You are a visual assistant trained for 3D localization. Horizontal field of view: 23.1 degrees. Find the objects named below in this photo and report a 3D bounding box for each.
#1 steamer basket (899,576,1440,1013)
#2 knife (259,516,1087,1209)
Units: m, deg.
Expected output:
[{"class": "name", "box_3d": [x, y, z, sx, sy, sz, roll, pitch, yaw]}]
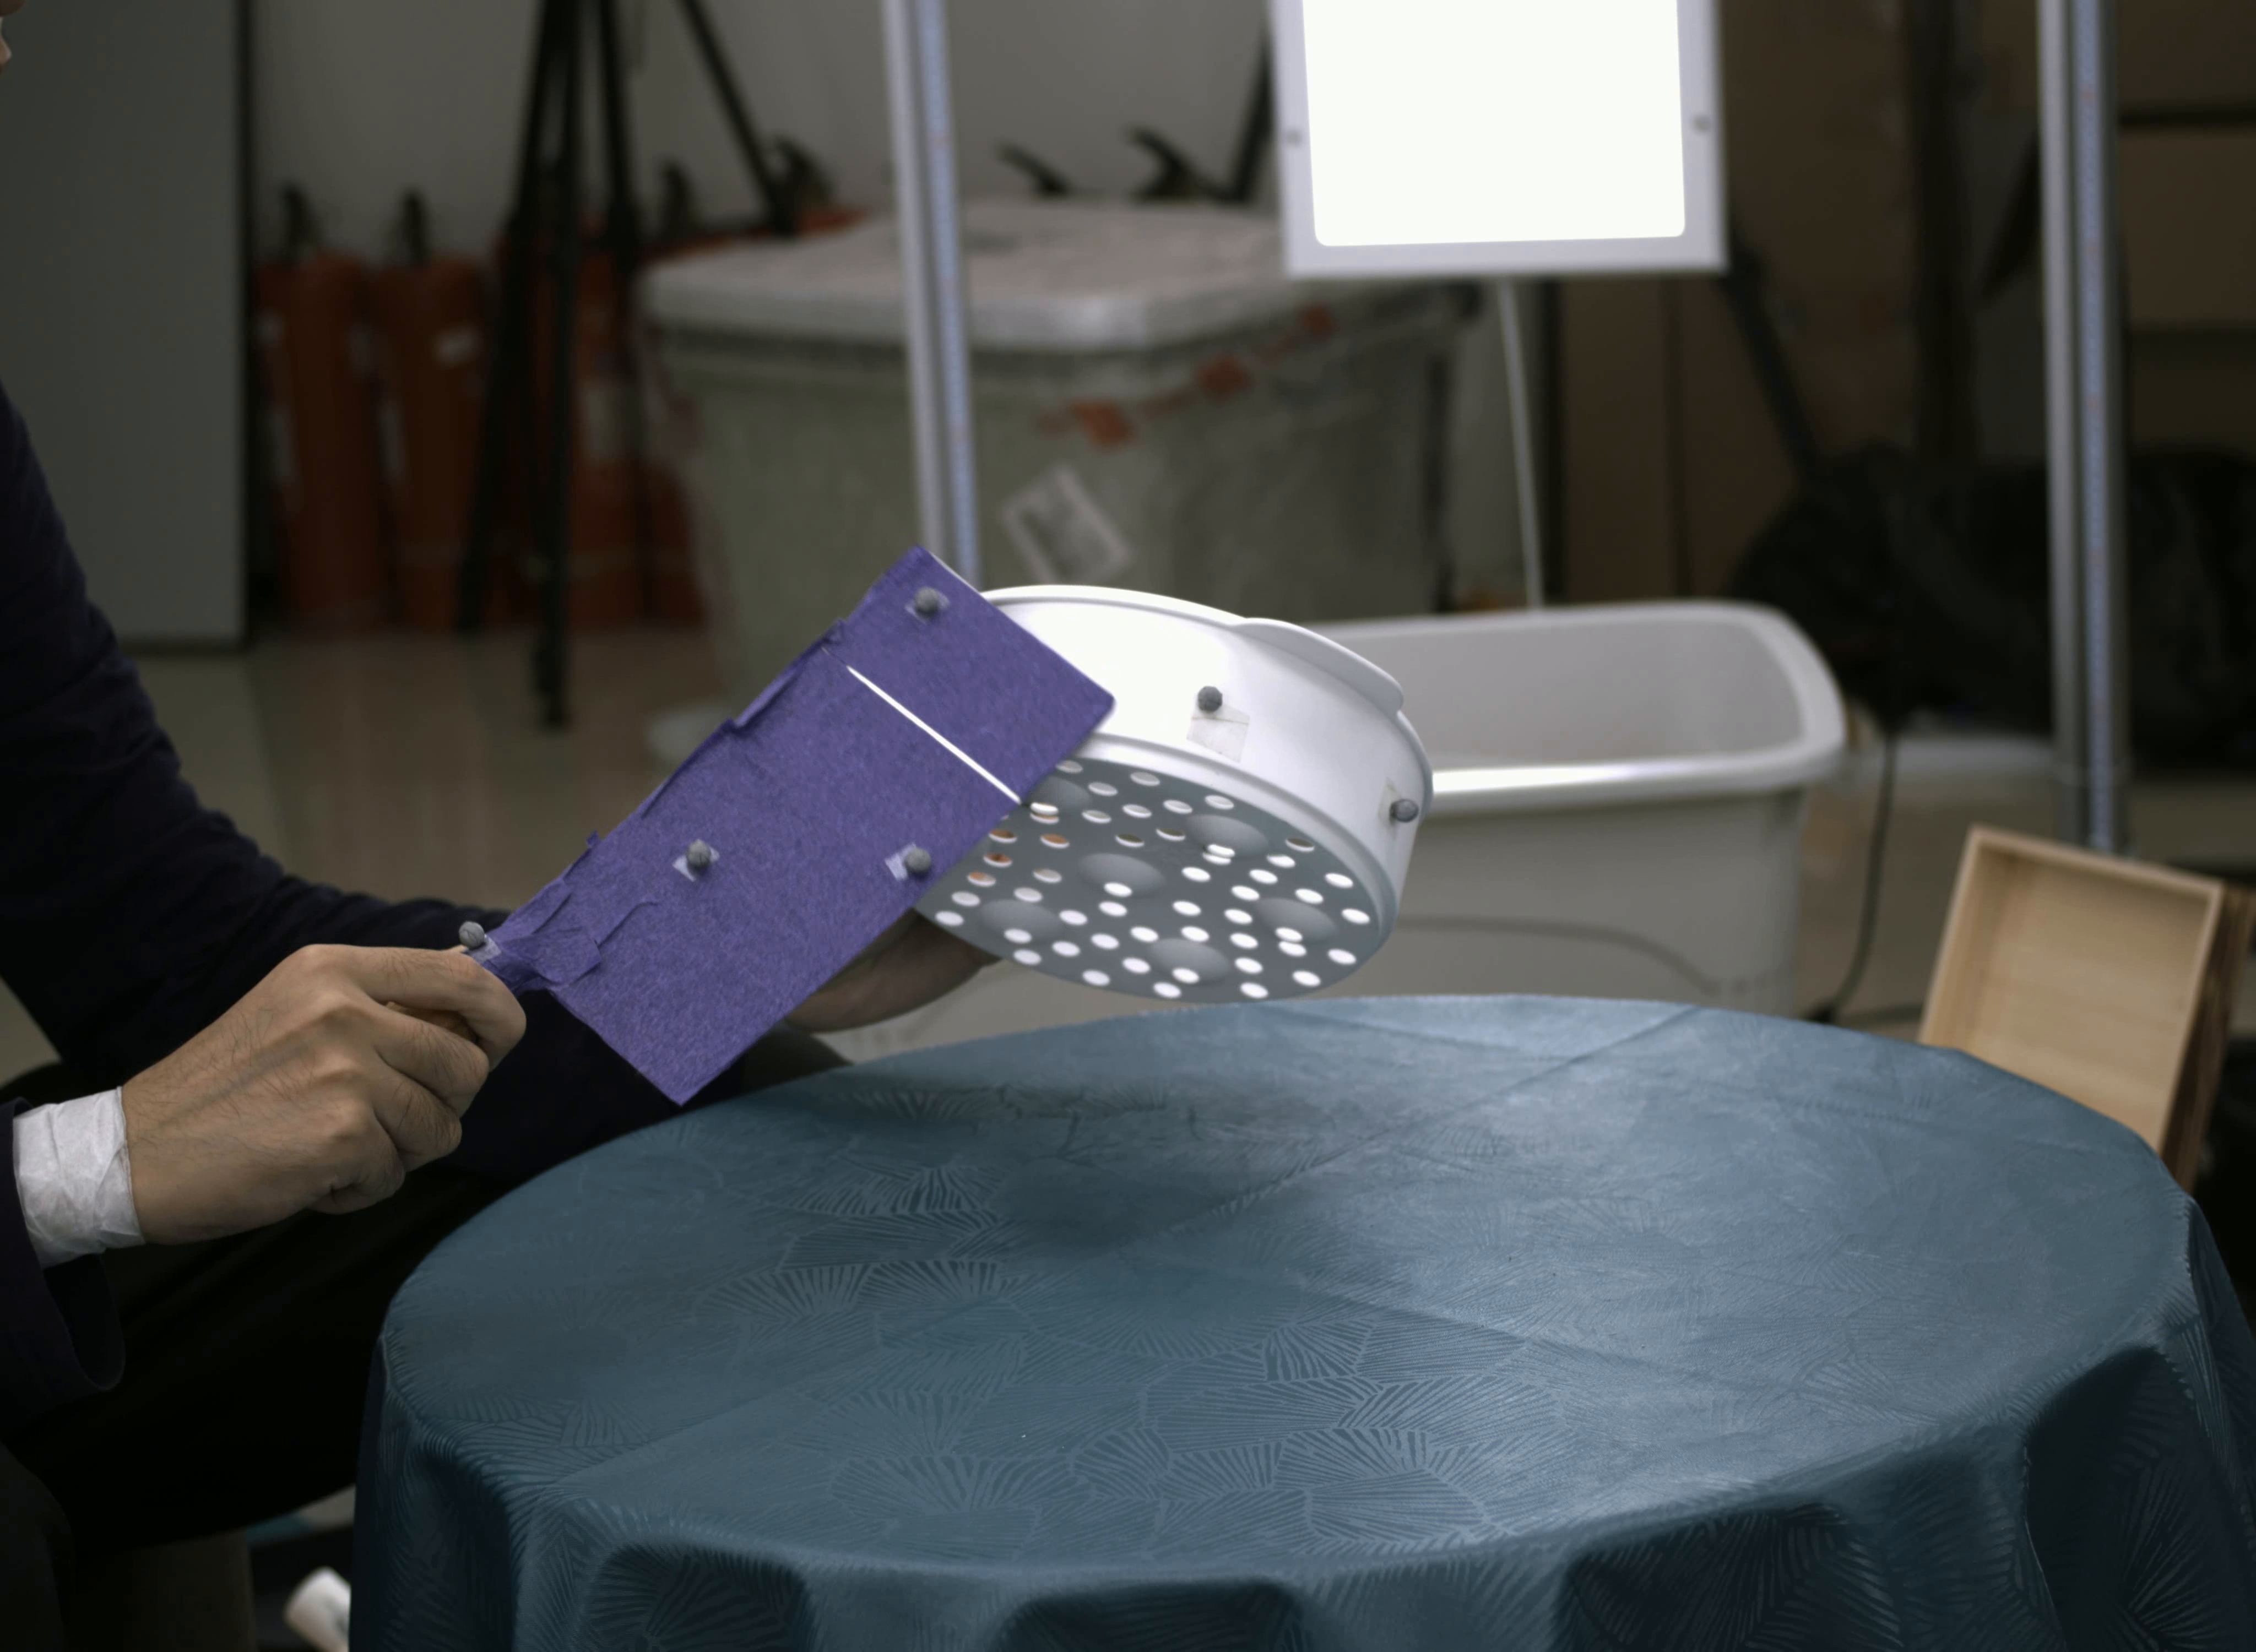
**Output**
[{"class": "steamer basket", "box_3d": [0.006, -0.006, 1.918, 0.198, 0.069, 0.236, 28, -31, -25]}, {"class": "knife", "box_3d": [-0.142, 0.025, 1.796, 0.105, 0.032, 0.311, 38, 71, 21]}]
